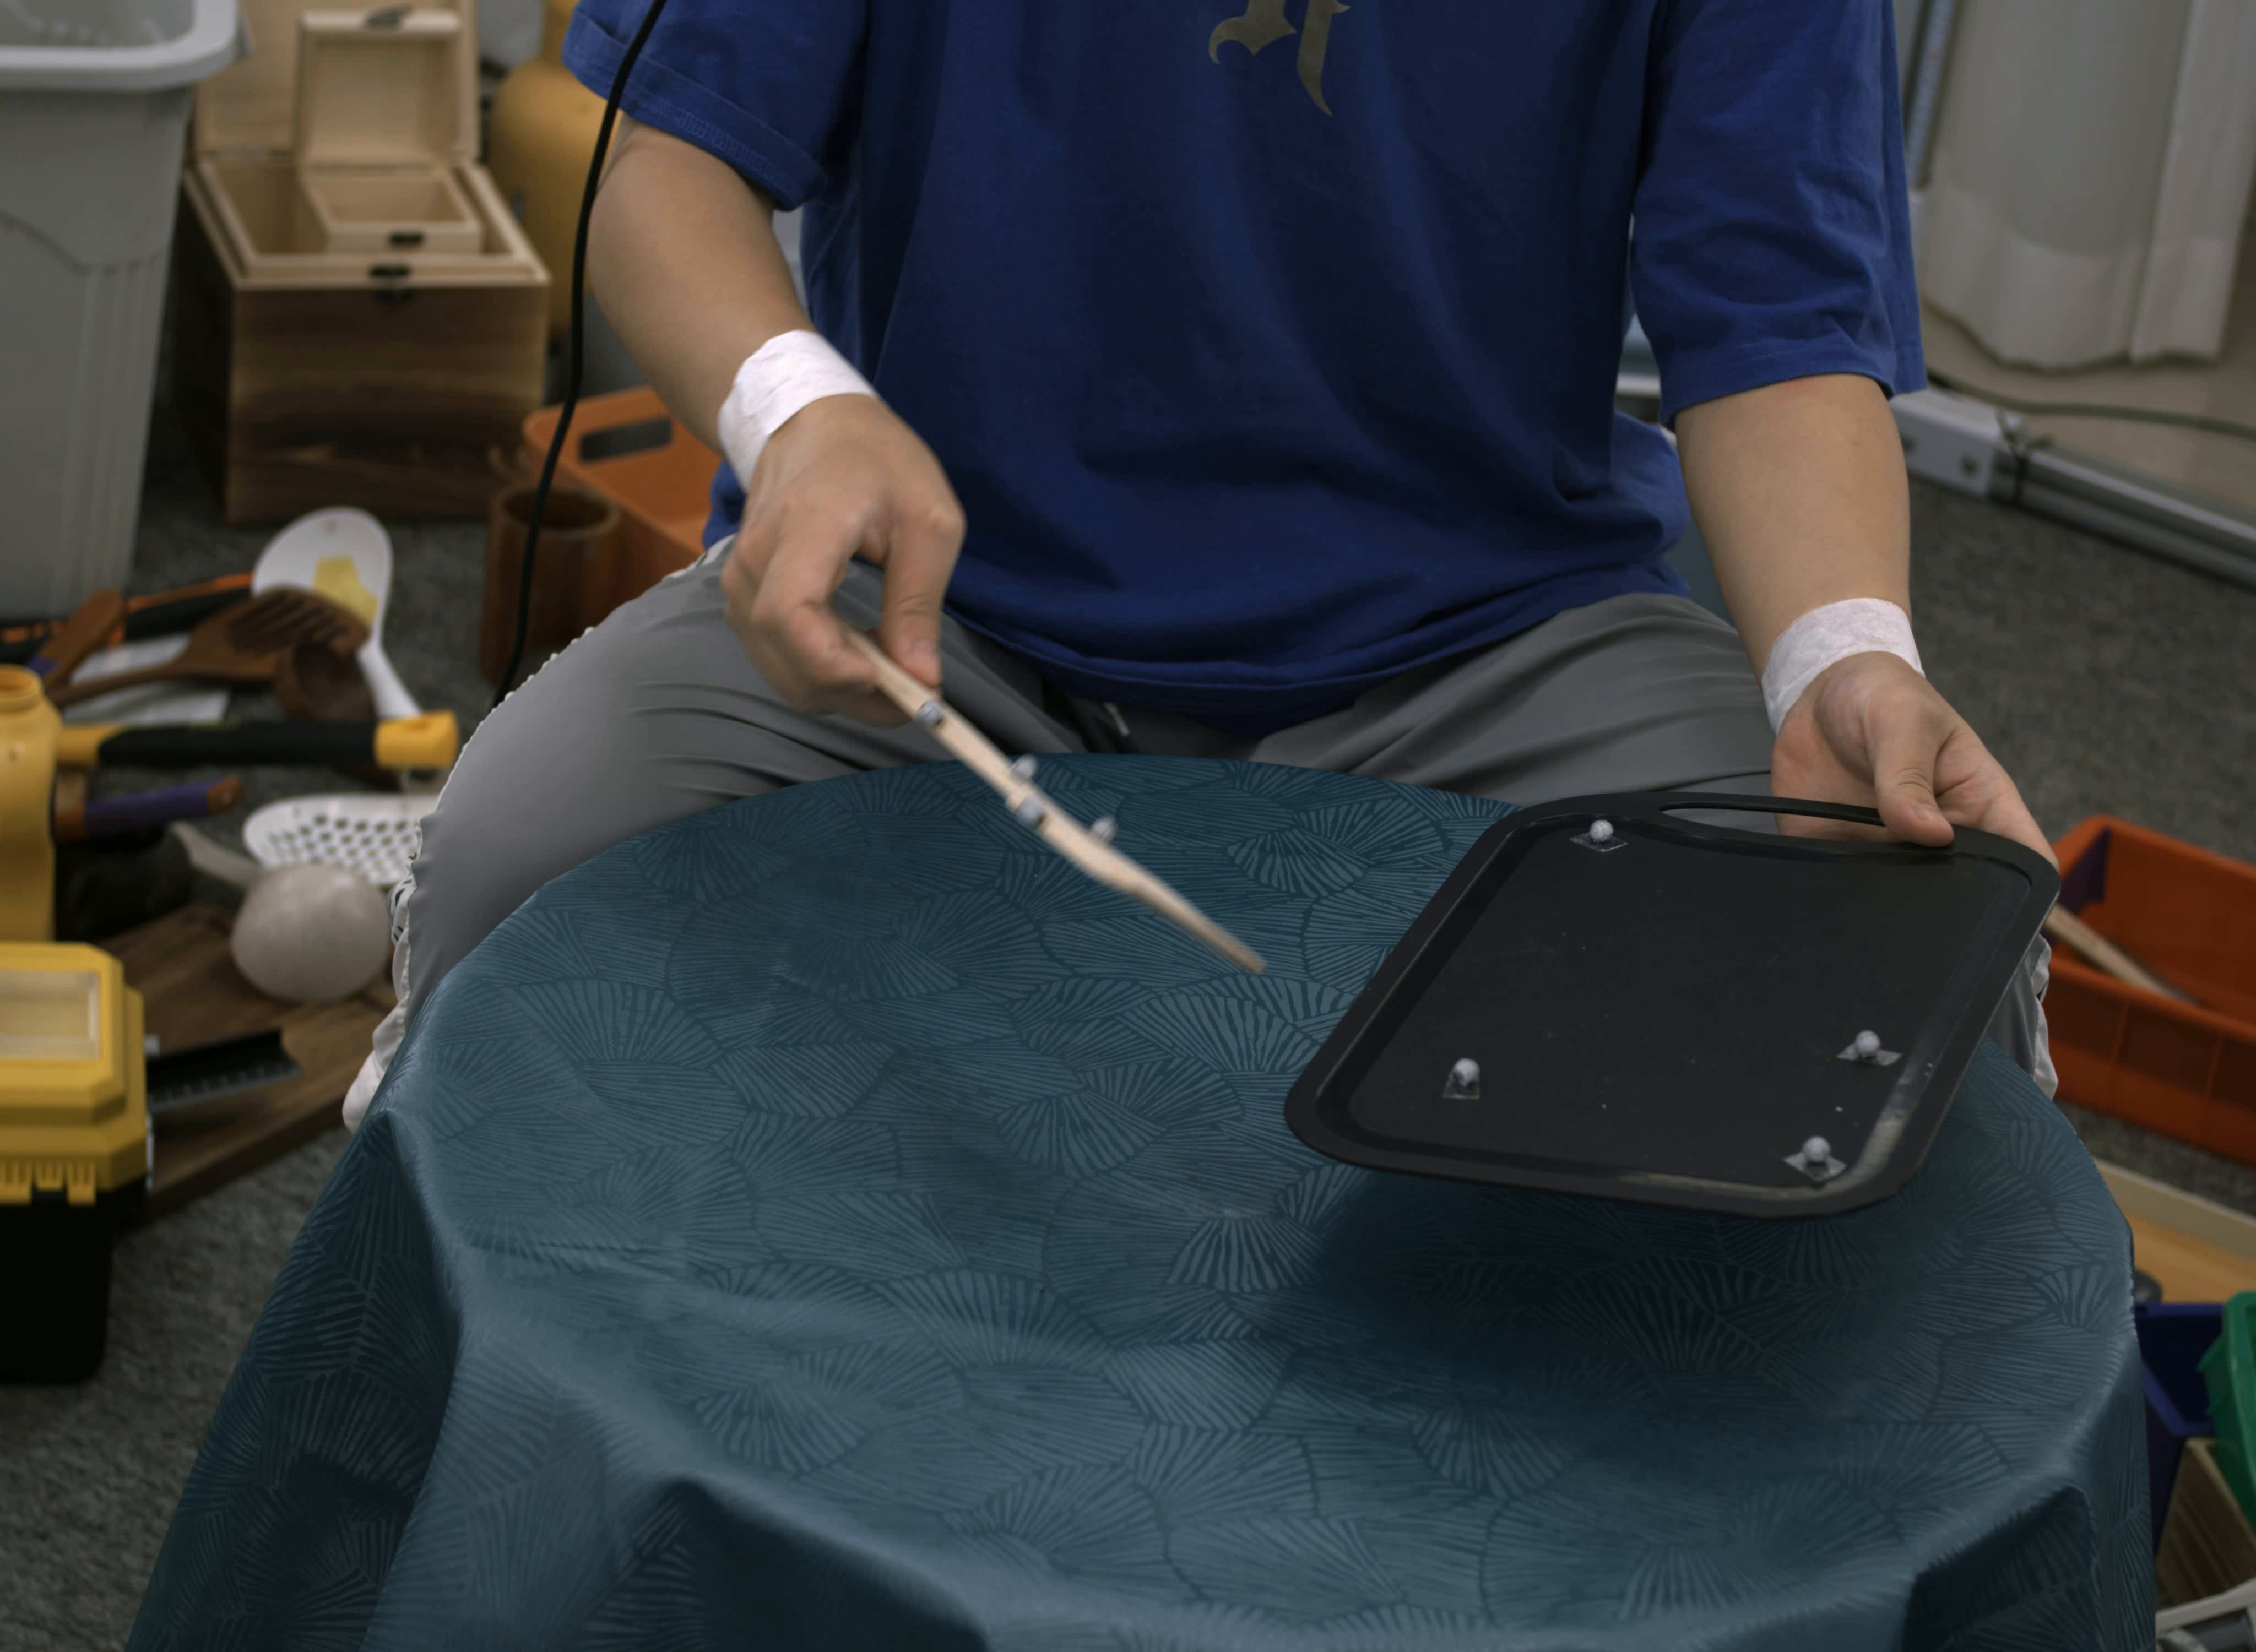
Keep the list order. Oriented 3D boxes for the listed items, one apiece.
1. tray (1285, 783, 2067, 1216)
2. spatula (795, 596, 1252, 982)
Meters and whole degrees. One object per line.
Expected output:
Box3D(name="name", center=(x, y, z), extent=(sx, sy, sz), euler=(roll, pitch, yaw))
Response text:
Box3D(name="tray", center=(0.192, 0.049, 1.803), extent=(0.211, 0.010, 0.325), euler=(6, 25, 21))
Box3D(name="spatula", center=(-0.049, -0.021, 1.848), extent=(0.071, 0.010, 0.295), euler=(32, 6, -37))
